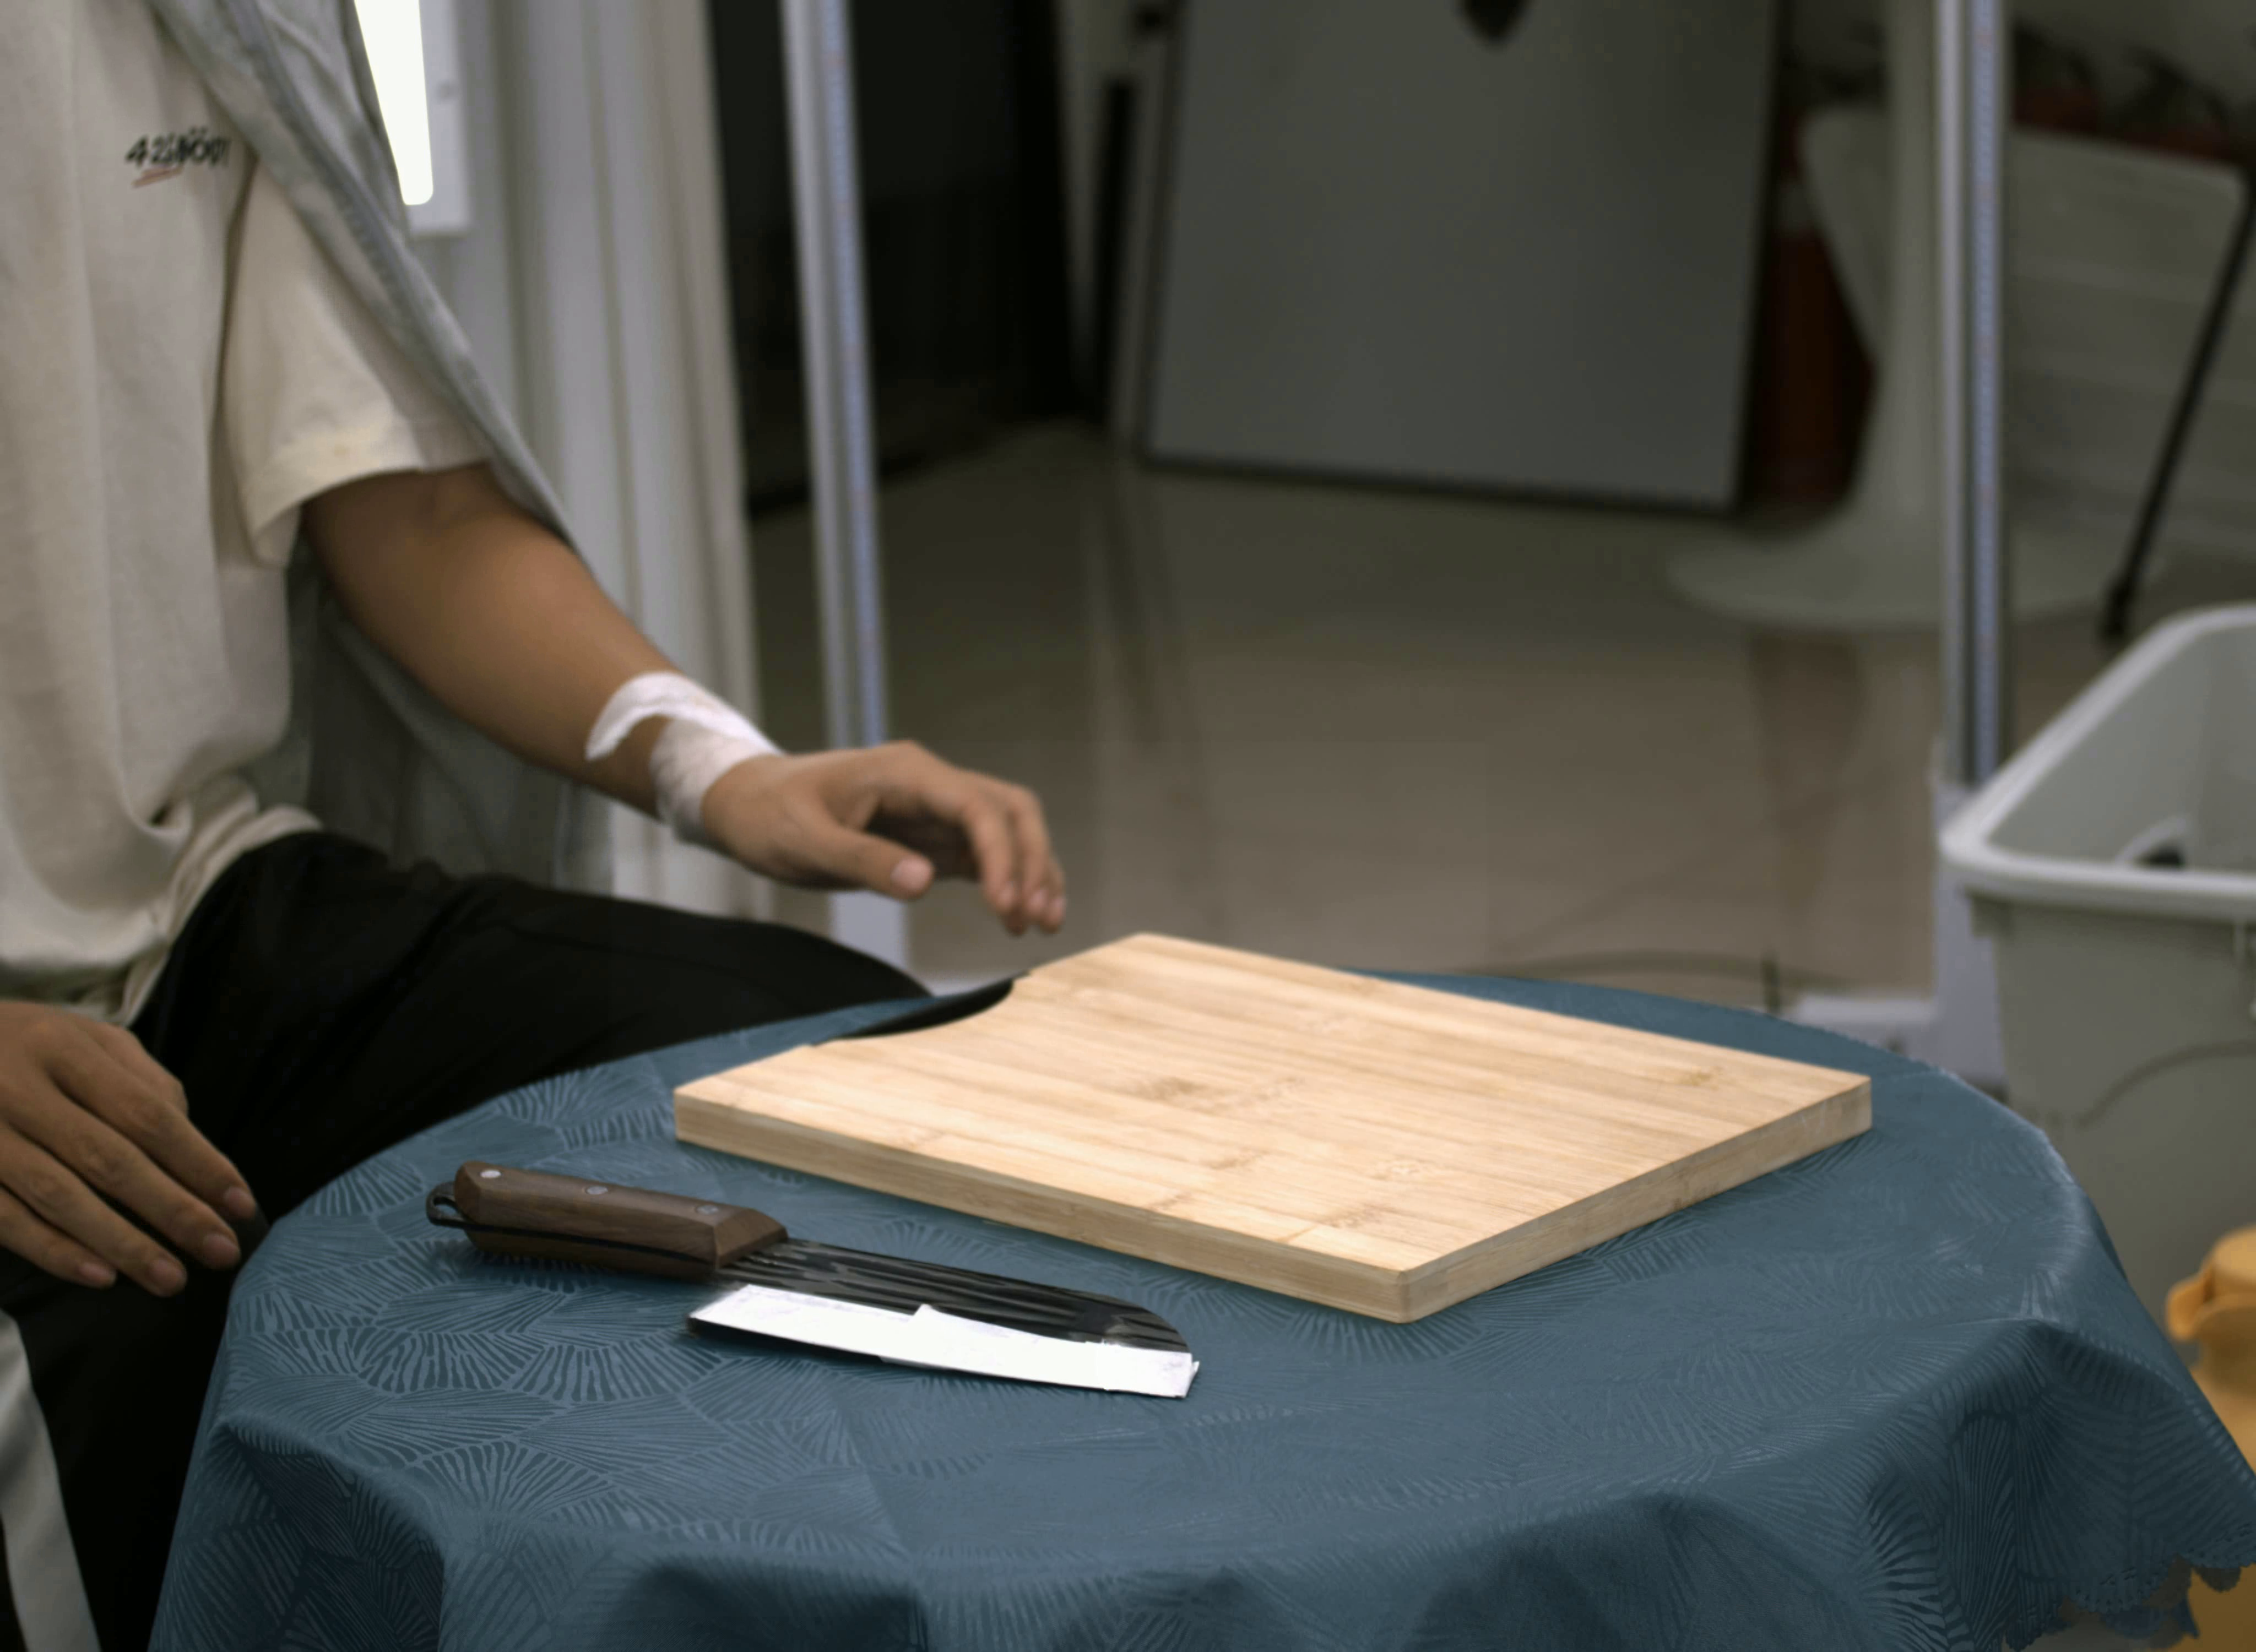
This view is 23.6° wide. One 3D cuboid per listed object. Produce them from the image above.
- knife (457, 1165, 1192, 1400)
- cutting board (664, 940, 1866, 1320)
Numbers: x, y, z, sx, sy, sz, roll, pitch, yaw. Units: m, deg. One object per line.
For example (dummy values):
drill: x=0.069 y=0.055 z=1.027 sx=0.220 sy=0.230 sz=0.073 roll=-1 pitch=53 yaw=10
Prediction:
knife: x=-0.101 y=0.144 z=1.673 sx=0.301 sy=0.024 sz=0.067 roll=8 pitch=20 yaw=31
cutting board: x=0.042 y=0.097 z=1.828 sx=0.352 sy=0.024 sz=0.245 roll=9 pitch=19 yaw=43
